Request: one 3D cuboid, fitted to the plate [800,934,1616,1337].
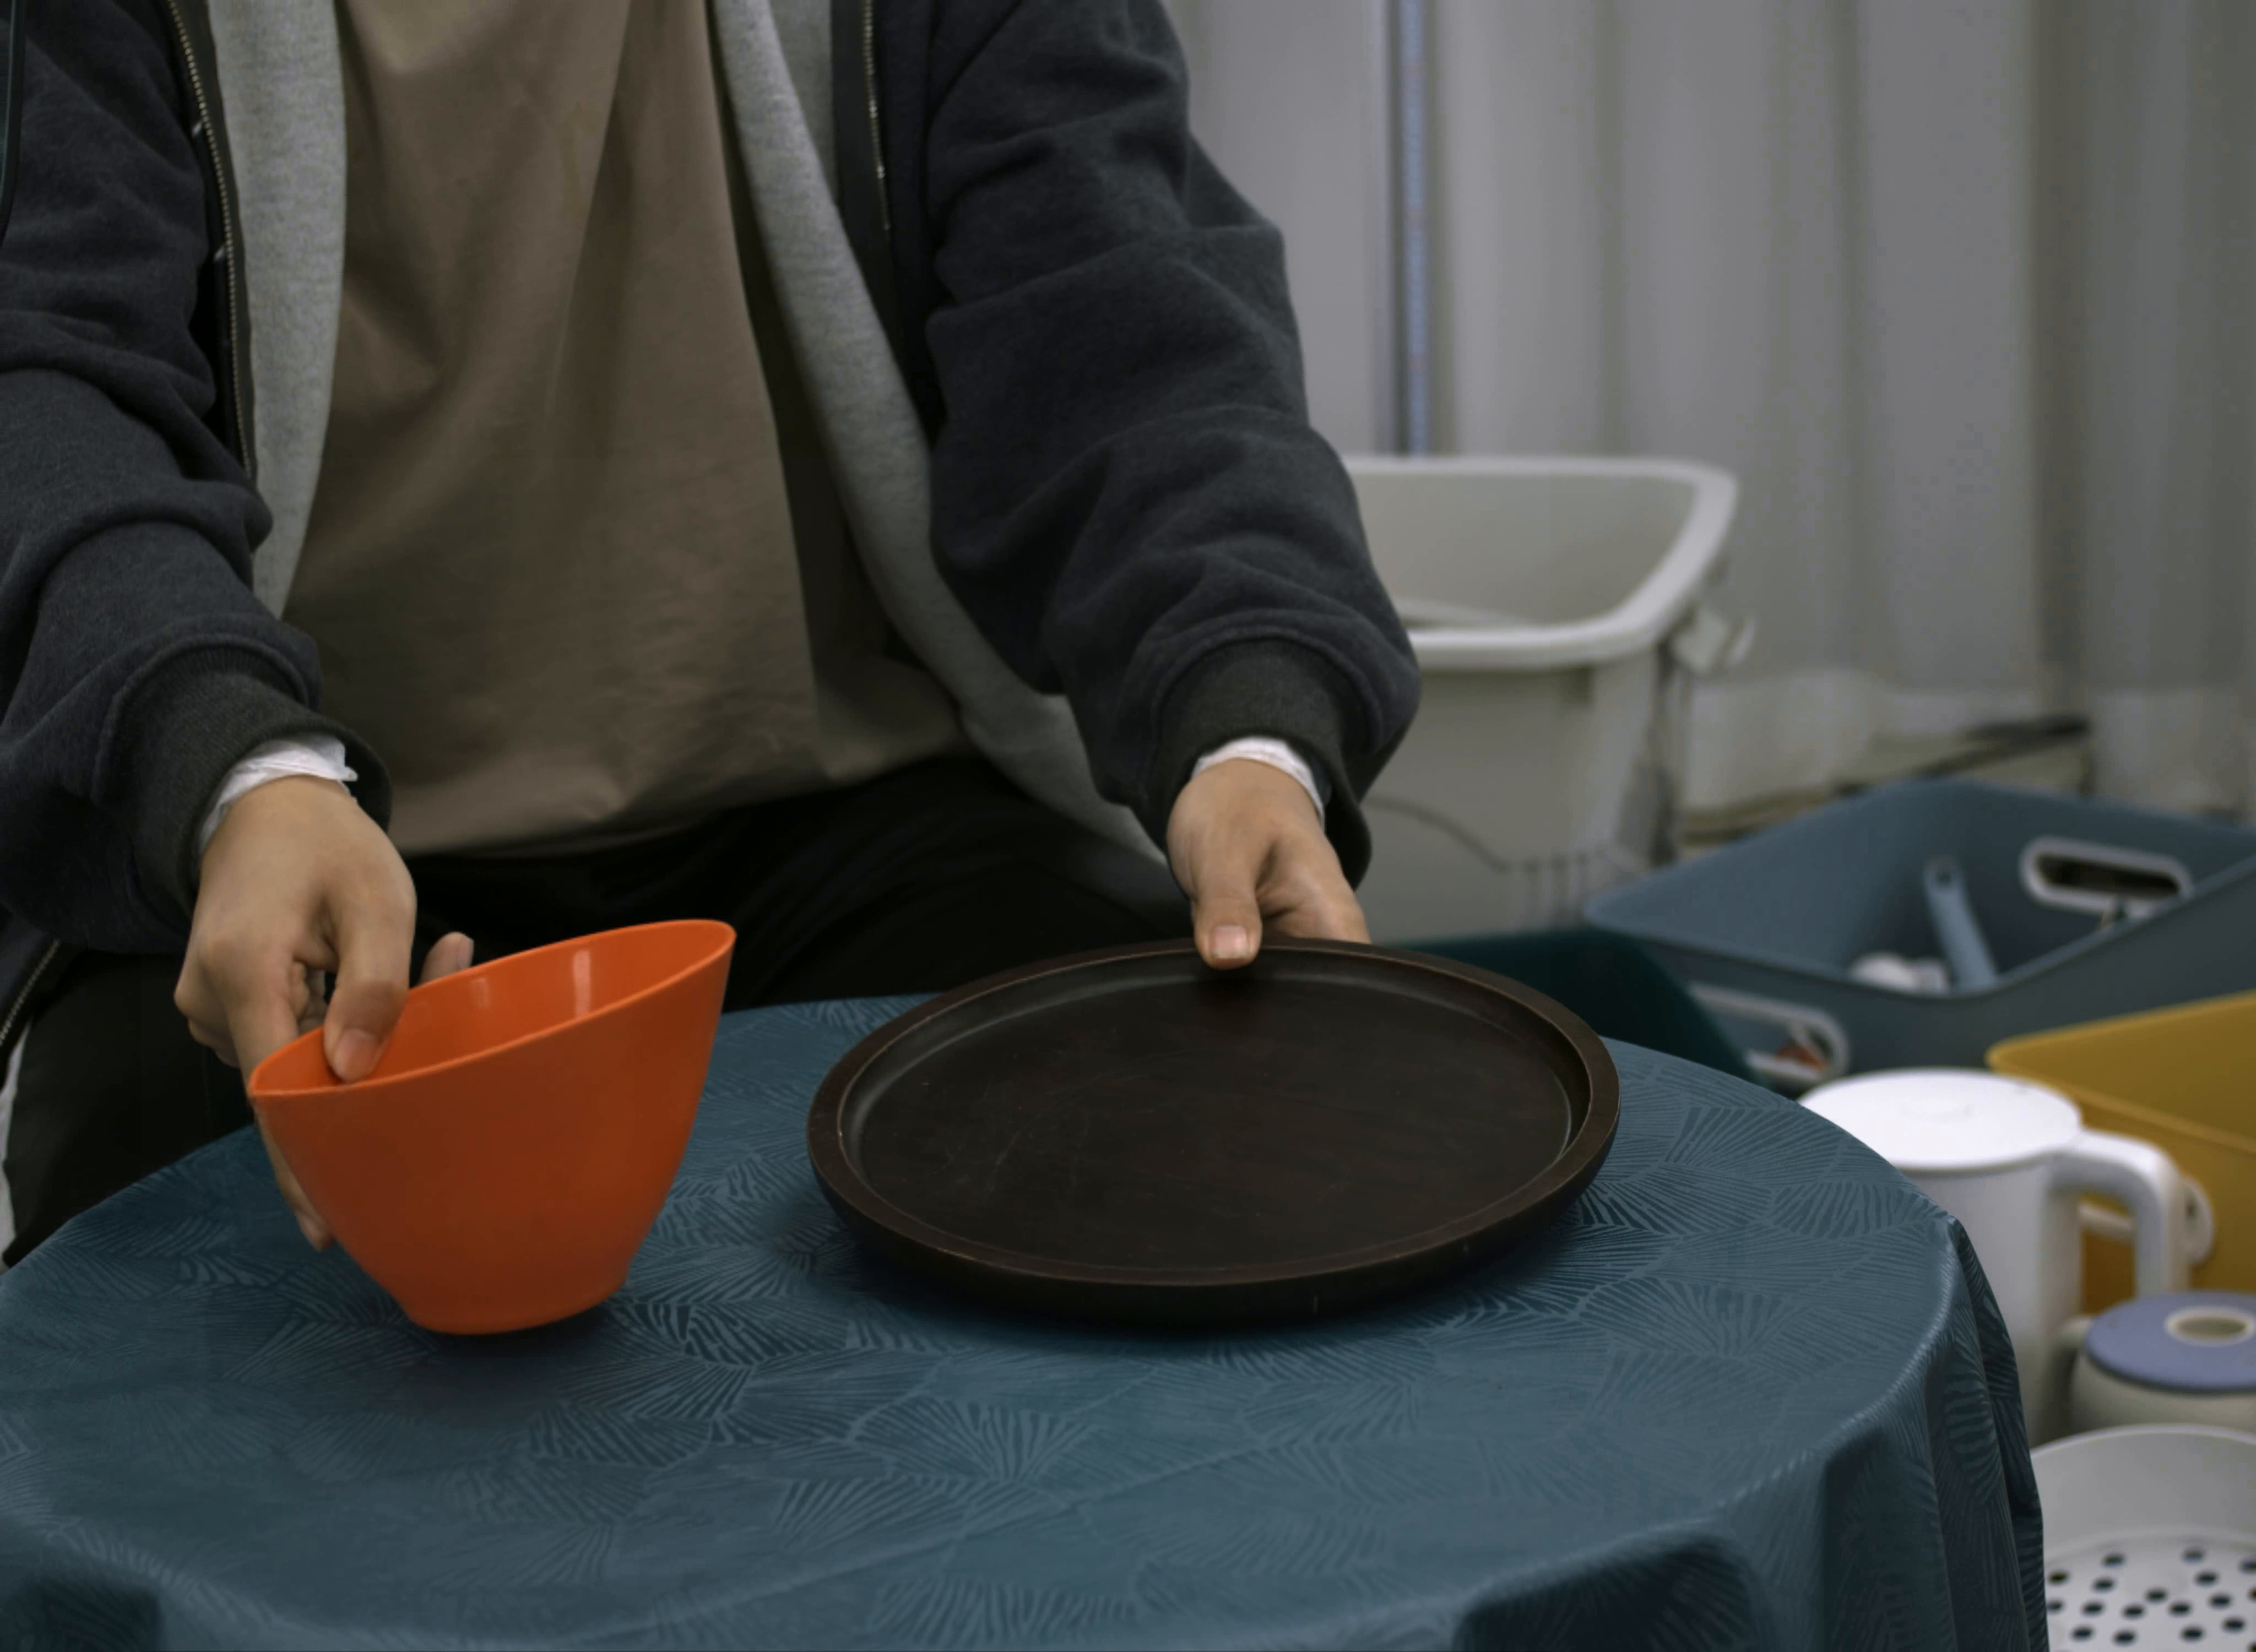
[{"bbox_3d":[0.025,0.093,1.693,0.254,0.029,0.257,-4,23,1],"label":"plate"}]

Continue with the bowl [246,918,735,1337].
[{"bbox_3d":[-0.180,0.091,1.606,0.147,0.104,0.149,-8,16,2],"label":"bowl"}]
